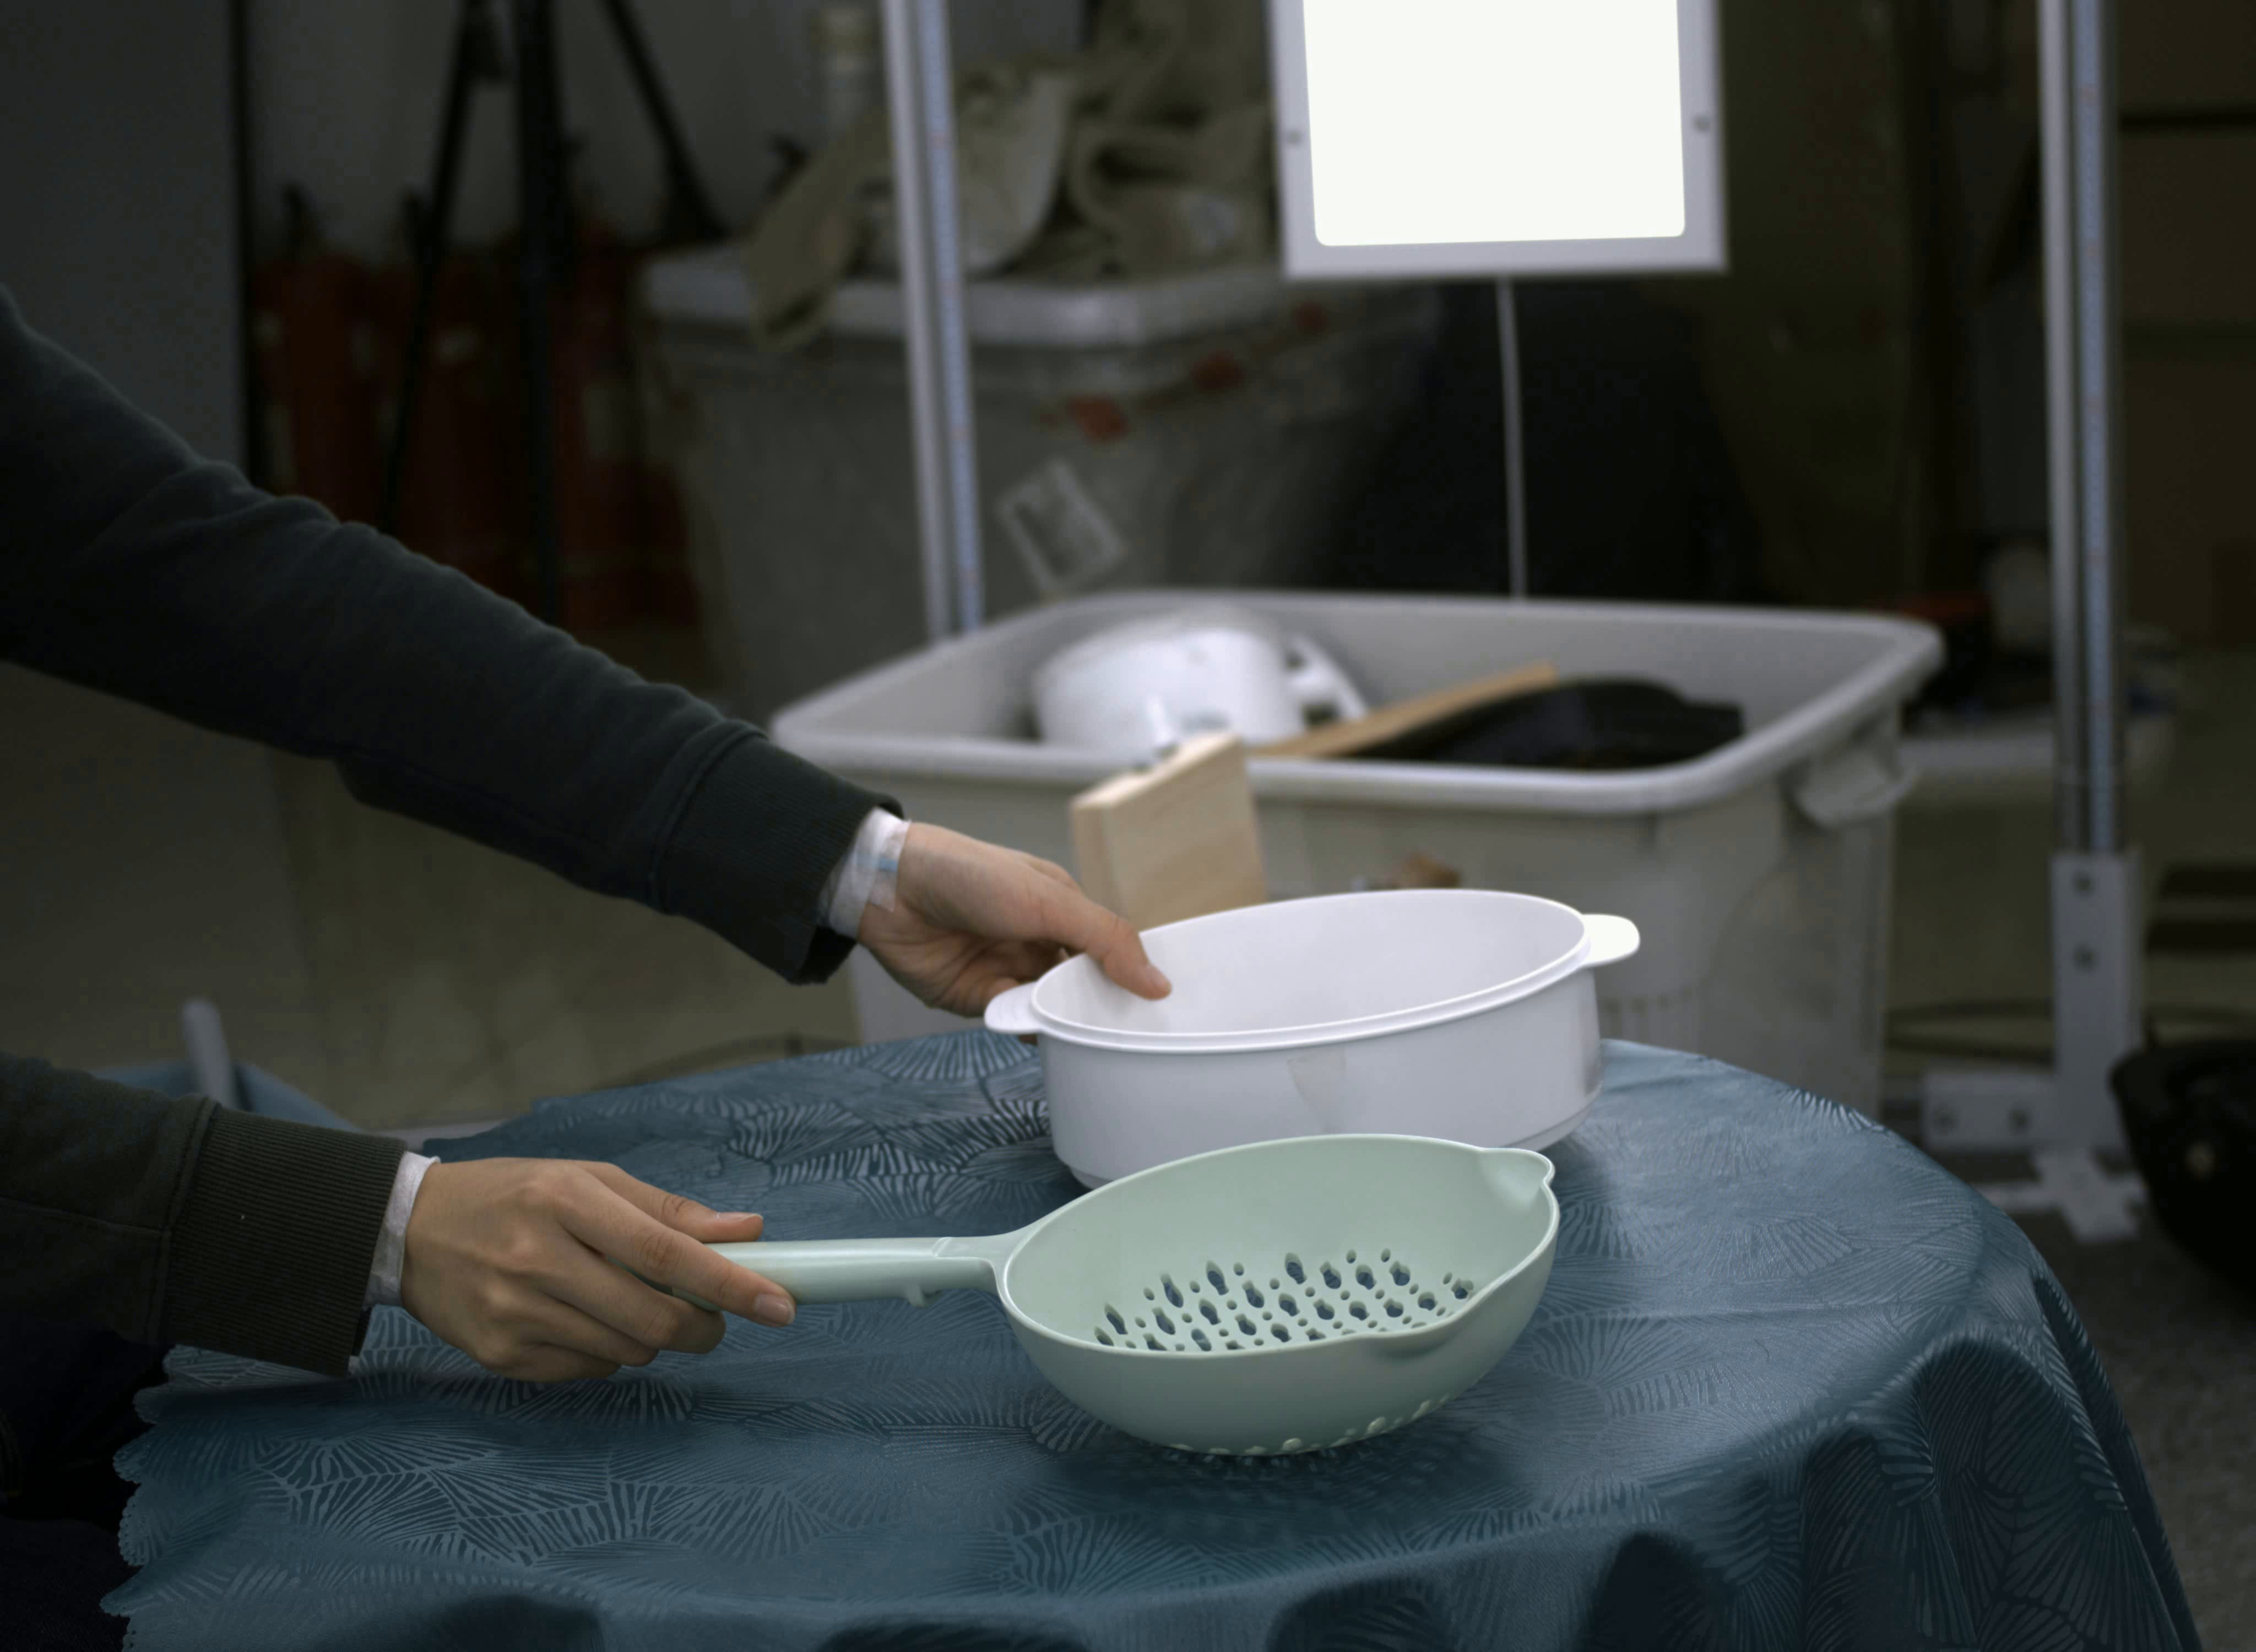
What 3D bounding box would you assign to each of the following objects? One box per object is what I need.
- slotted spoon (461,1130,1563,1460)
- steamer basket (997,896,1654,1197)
[{"bbox_3d":[-0.043,0.139,1.690,0.363,0.076,0.166,6,21,19],"label":"slotted spoon"},{"bbox_3d":[0.072,0.079,1.911,0.231,0.069,0.201,-8,10,4],"label":"steamer basket"}]
